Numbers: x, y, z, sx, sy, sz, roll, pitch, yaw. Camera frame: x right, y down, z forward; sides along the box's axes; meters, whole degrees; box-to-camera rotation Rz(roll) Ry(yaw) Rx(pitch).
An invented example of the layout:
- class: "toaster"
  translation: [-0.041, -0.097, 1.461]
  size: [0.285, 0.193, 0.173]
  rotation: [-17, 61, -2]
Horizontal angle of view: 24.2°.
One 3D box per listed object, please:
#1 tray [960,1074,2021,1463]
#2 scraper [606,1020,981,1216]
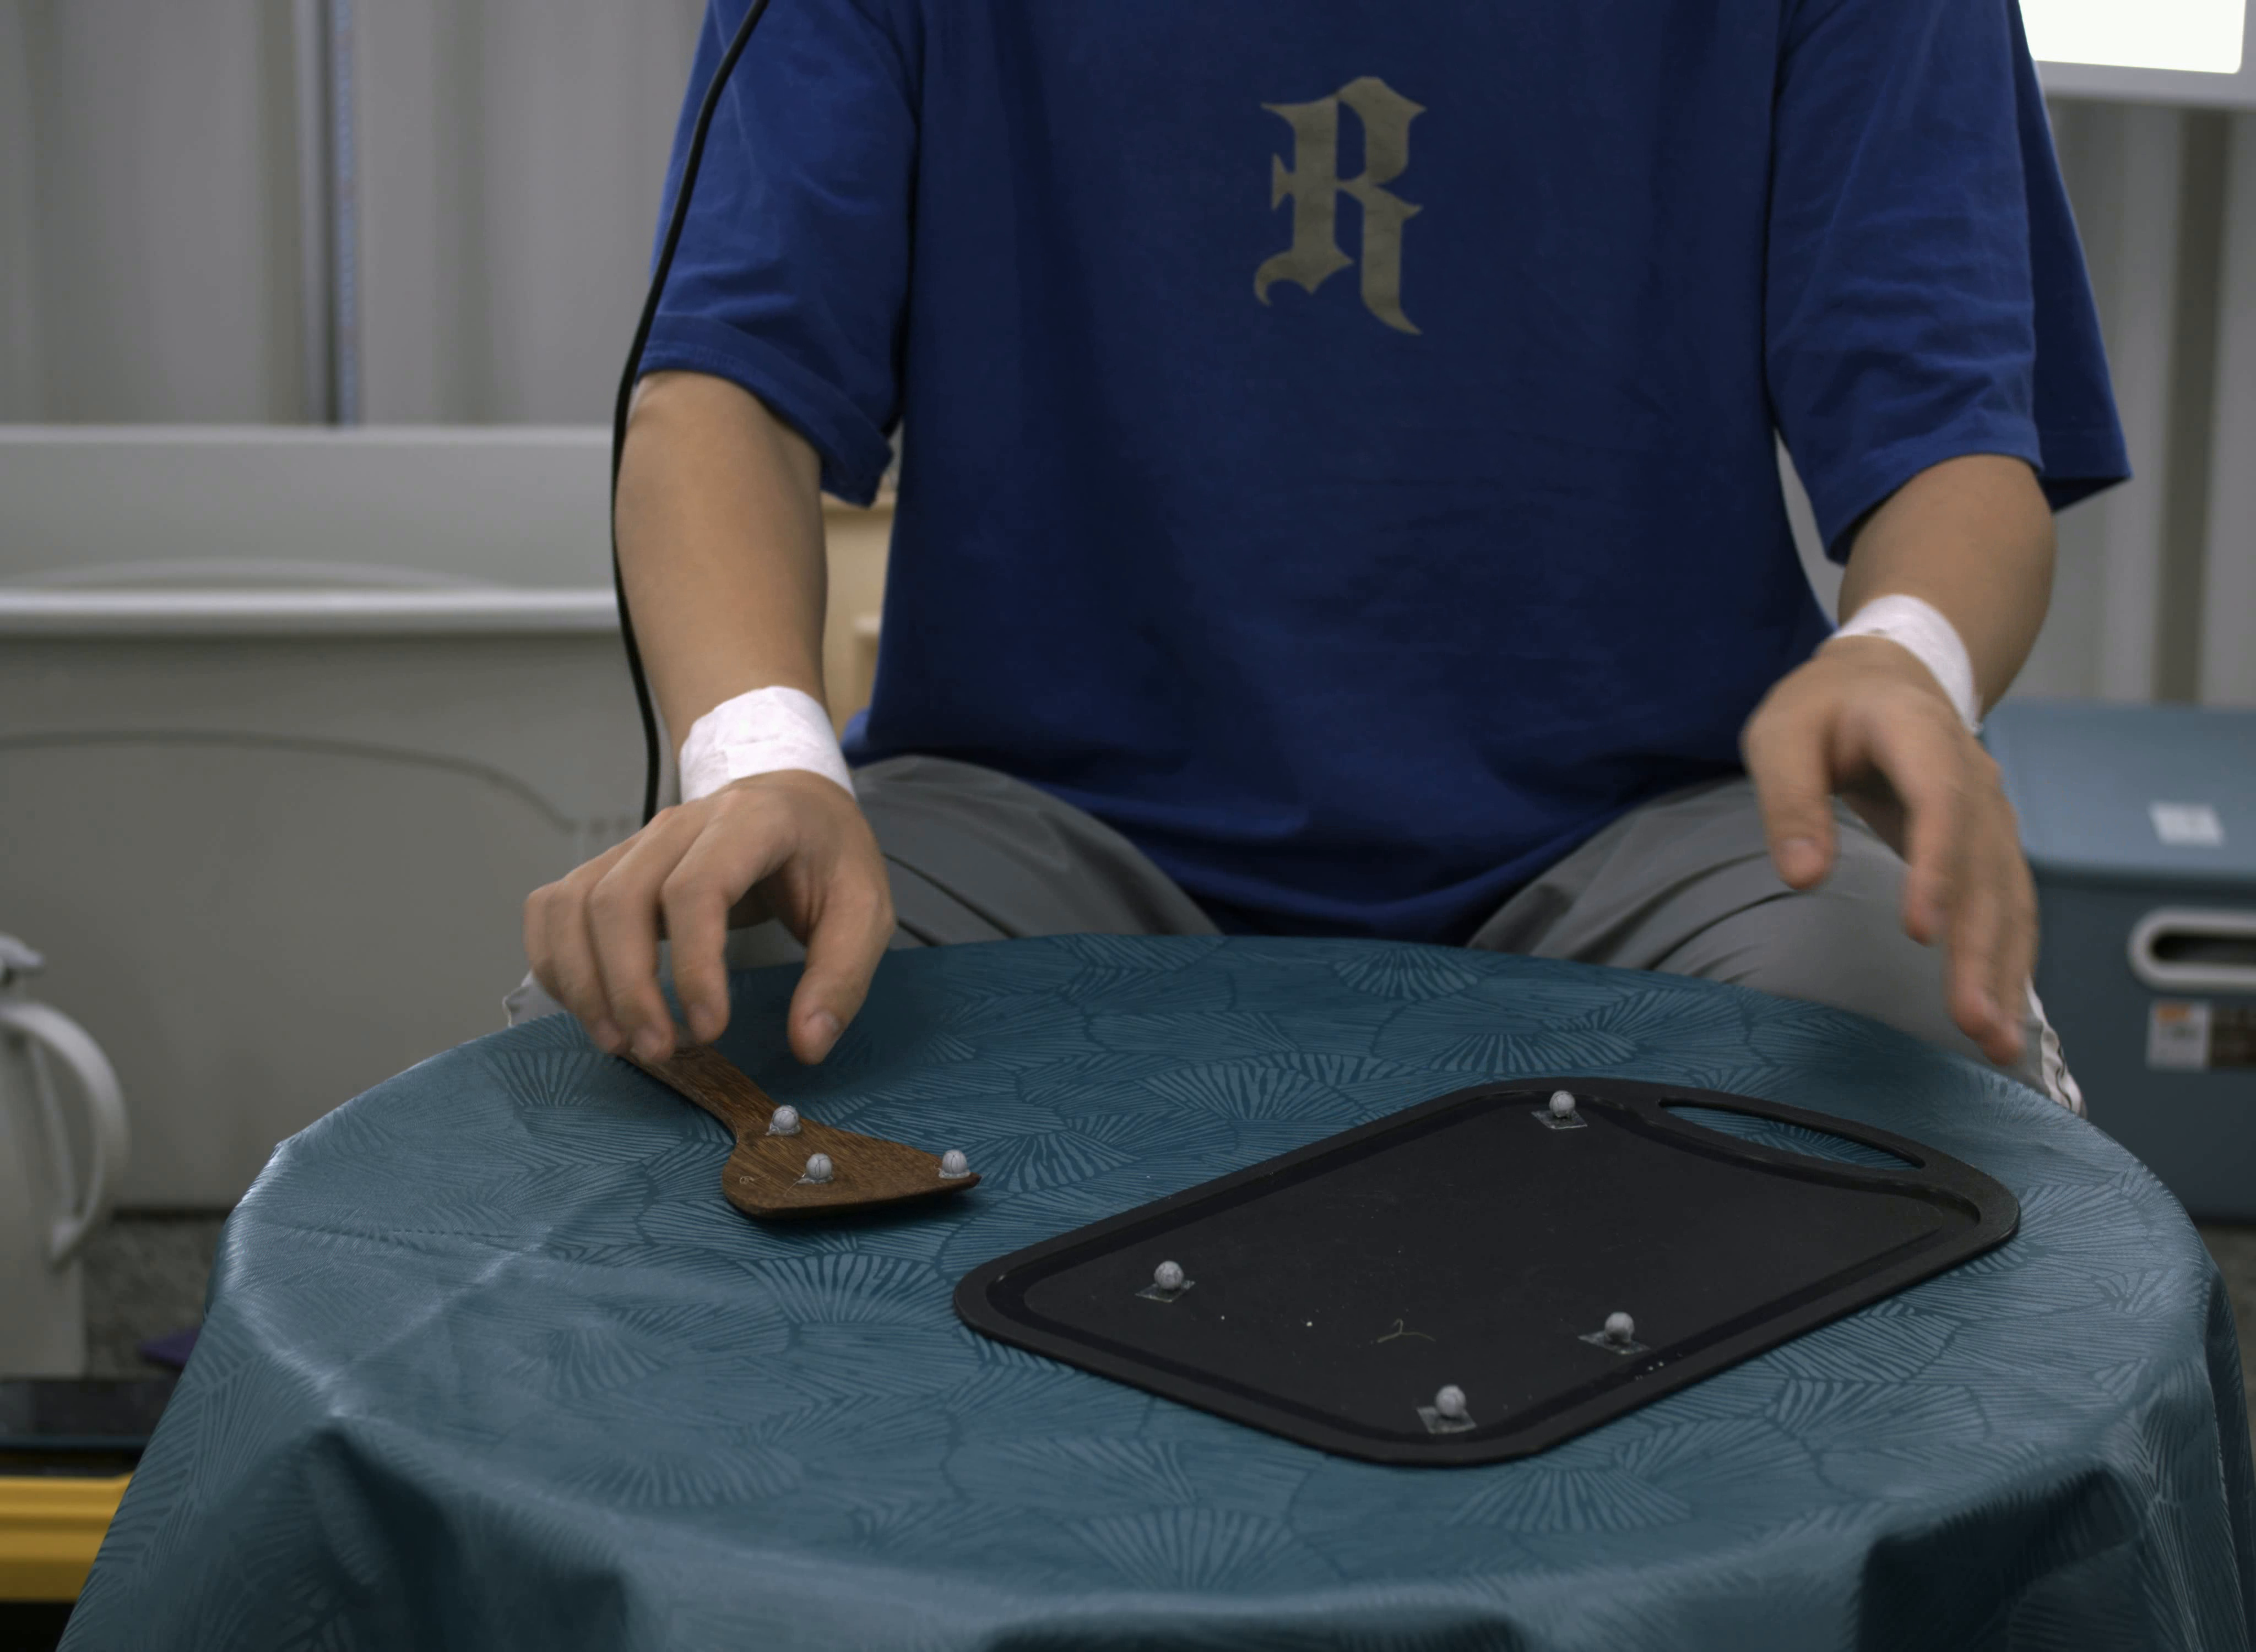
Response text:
- class: "tray"
  translation: [0.117, 0.123, 1.574]
  size: [0.208, 0.010, 0.327]
  rotation: [14, 20, 40]
- class: "scraper"
  translation: [-0.119, 0.092, 1.675]
  size: [0.076, 0.011, 0.209]
  rotation: [-6, 16, -25]
